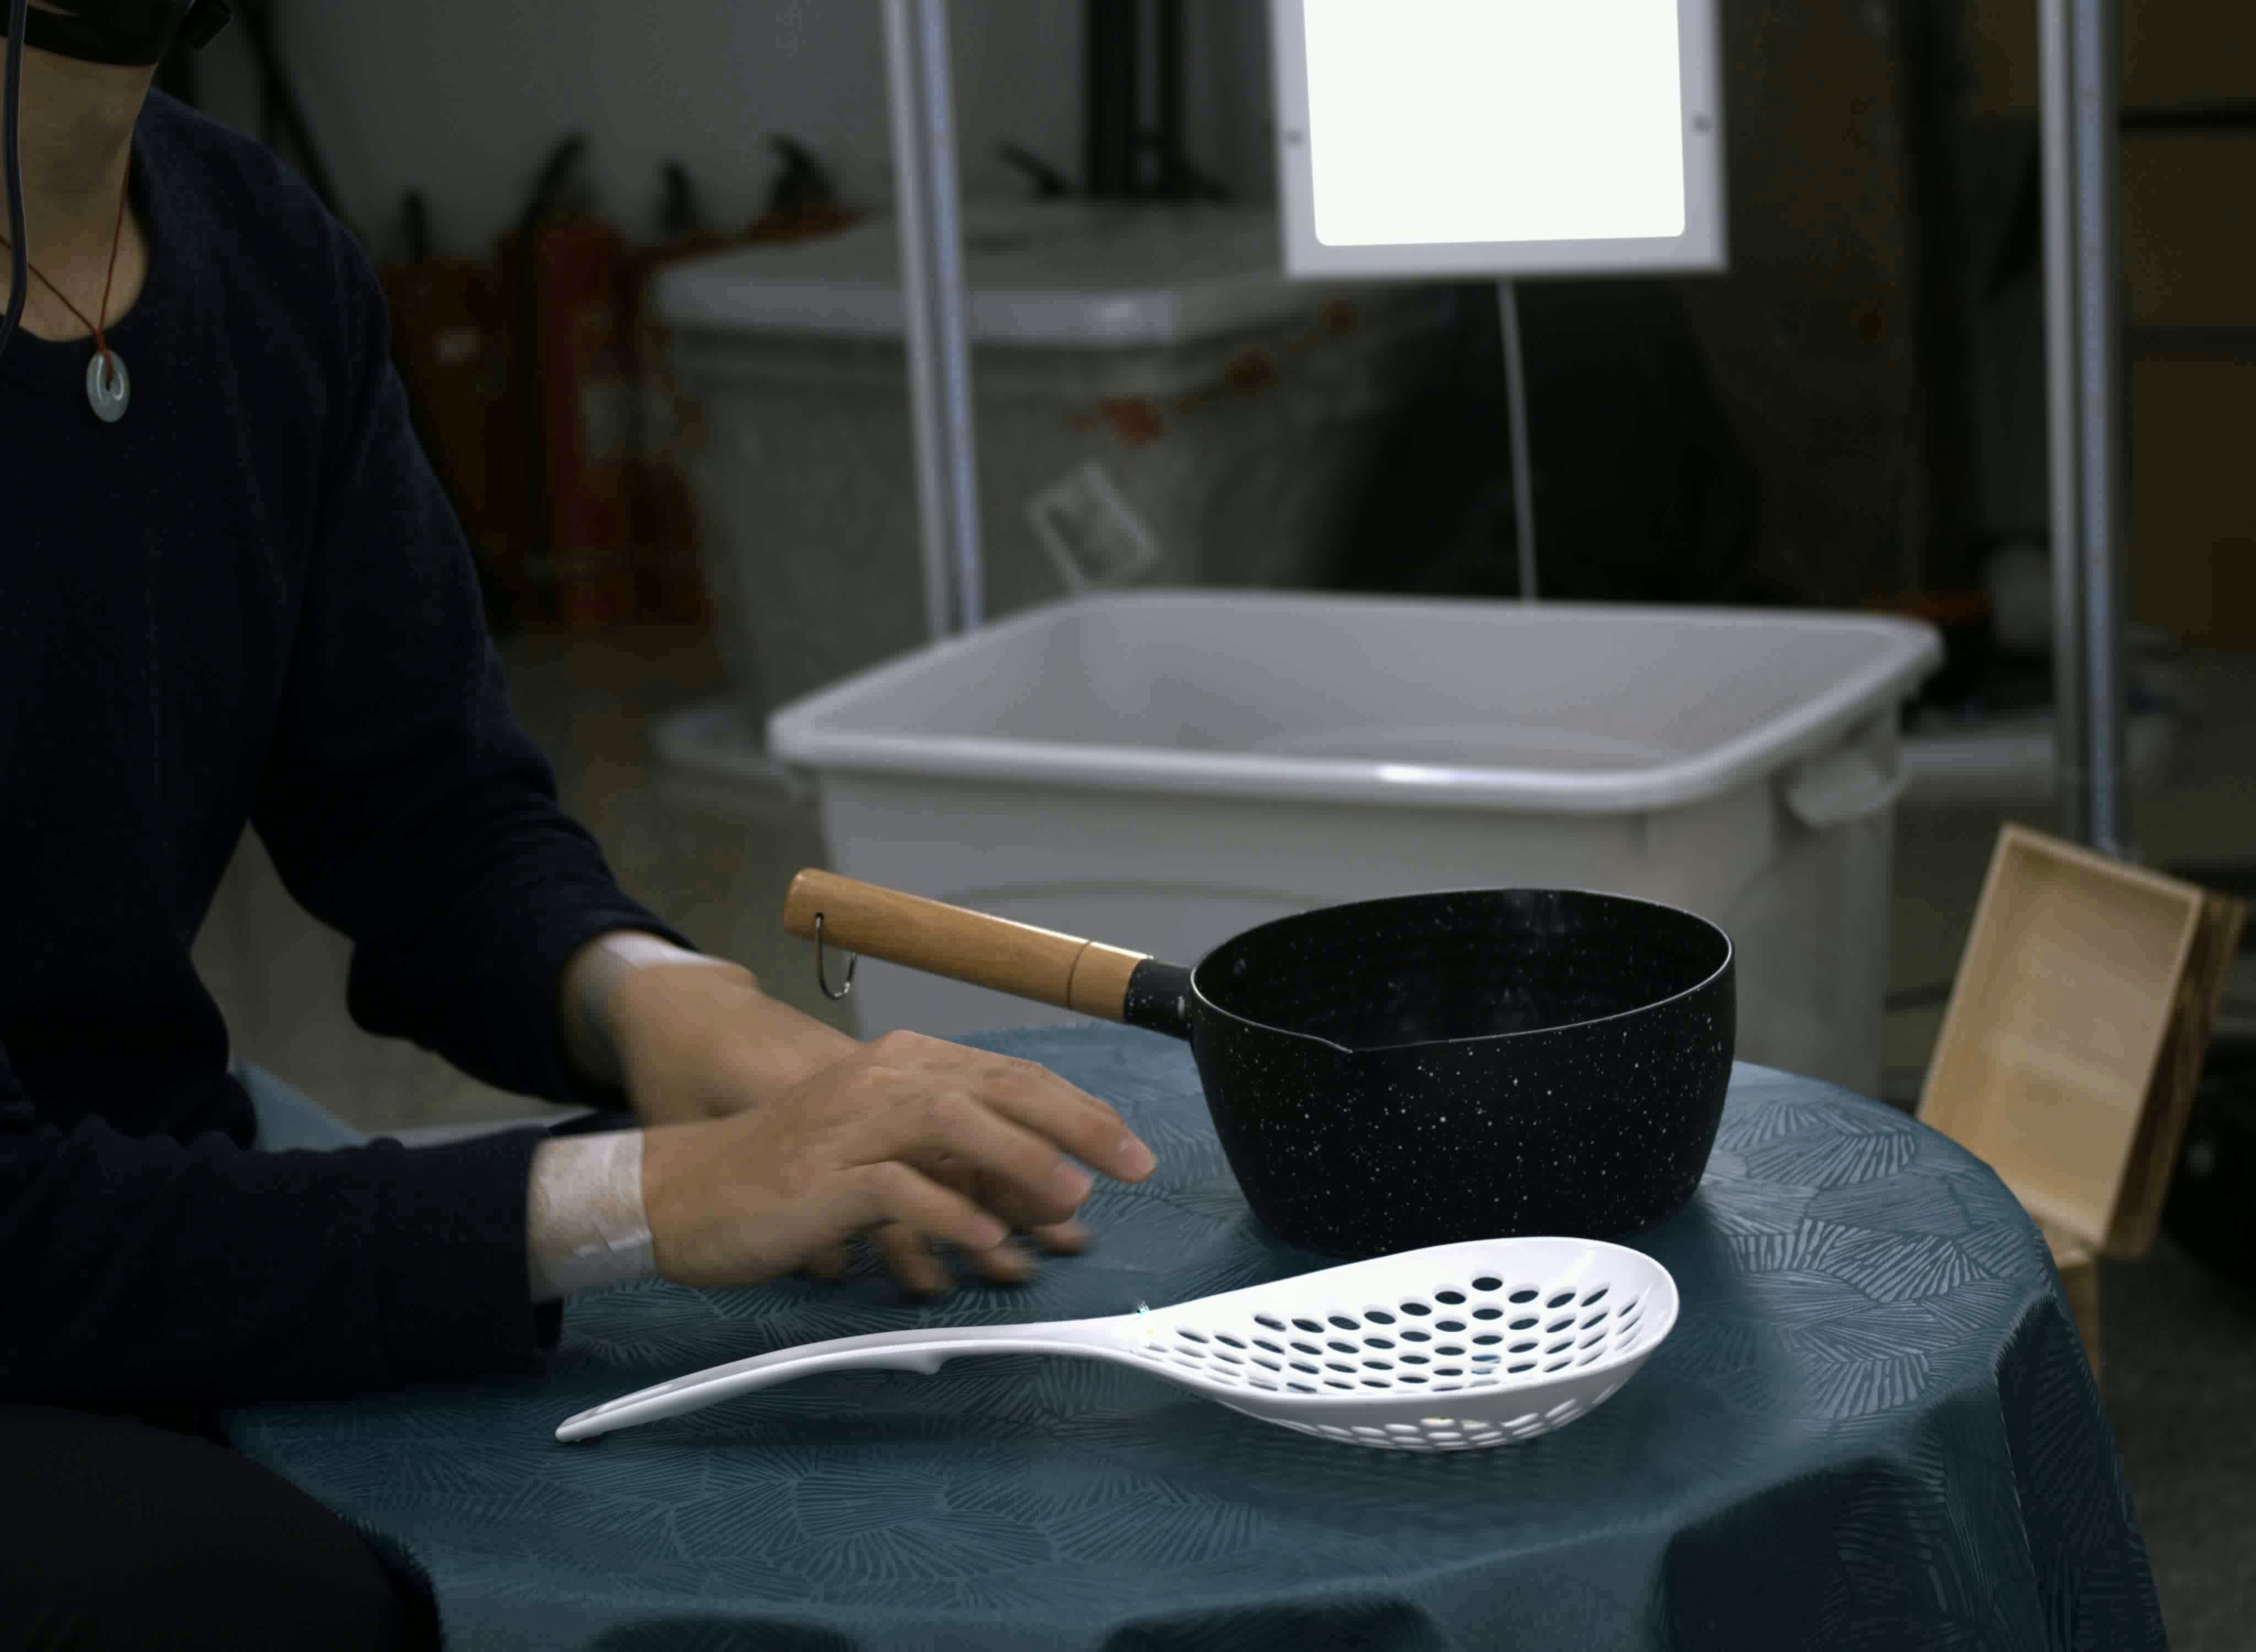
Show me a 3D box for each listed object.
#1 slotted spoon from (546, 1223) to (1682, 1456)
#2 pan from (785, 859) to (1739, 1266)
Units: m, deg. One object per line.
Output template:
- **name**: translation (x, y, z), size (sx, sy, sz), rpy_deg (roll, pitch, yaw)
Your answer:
- **slotted spoon**: translation (-0.006, 0.164, 1.659), size (0.350, 0.050, 0.135), rpy_deg (-1, 16, 12)
- **pan**: translation (0.040, 0.072, 1.878), size (0.348, 0.108, 0.203), rpy_deg (2, 17, 23)
